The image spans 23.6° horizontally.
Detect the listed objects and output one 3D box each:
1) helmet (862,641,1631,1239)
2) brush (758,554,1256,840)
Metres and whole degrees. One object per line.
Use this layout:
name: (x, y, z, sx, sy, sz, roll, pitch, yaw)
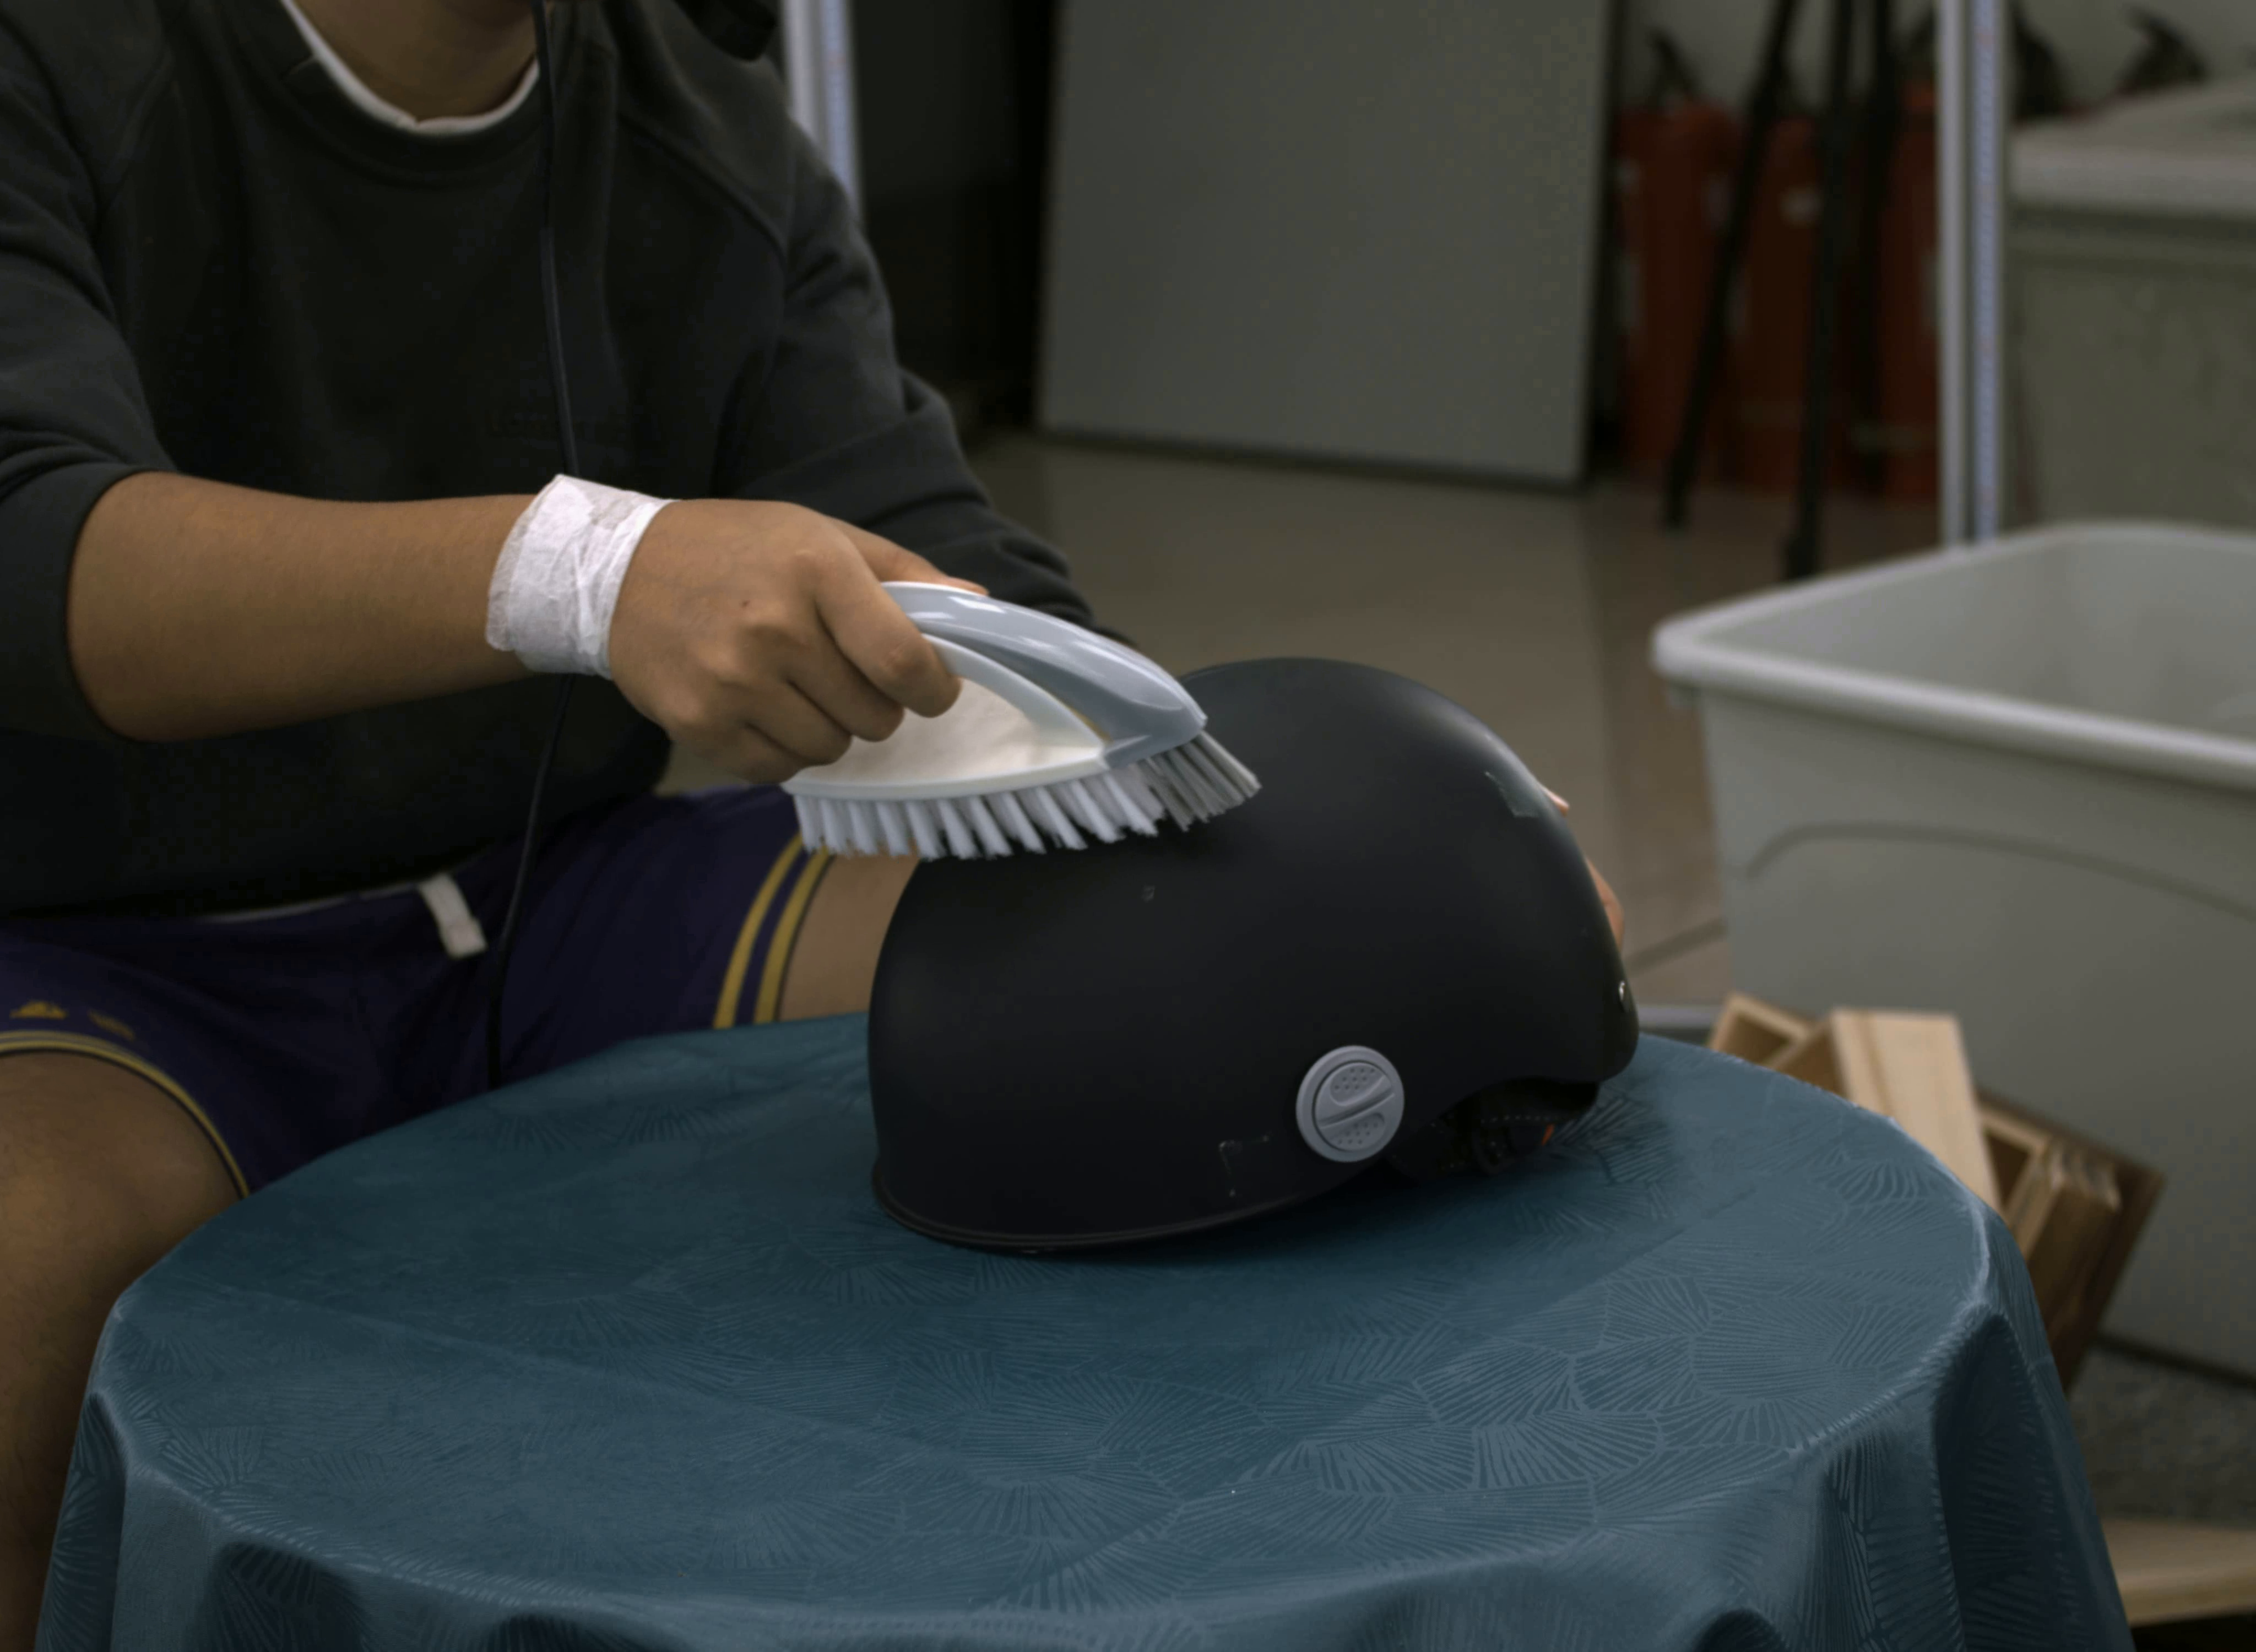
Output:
helmet: (0.032, 0.029, 1.791, 0.267, 0.168, 0.232, -16, 15, -31)
brush: (-0.044, -0.047, 1.715, 0.177, 0.094, 0.061, 4, 47, 39)
